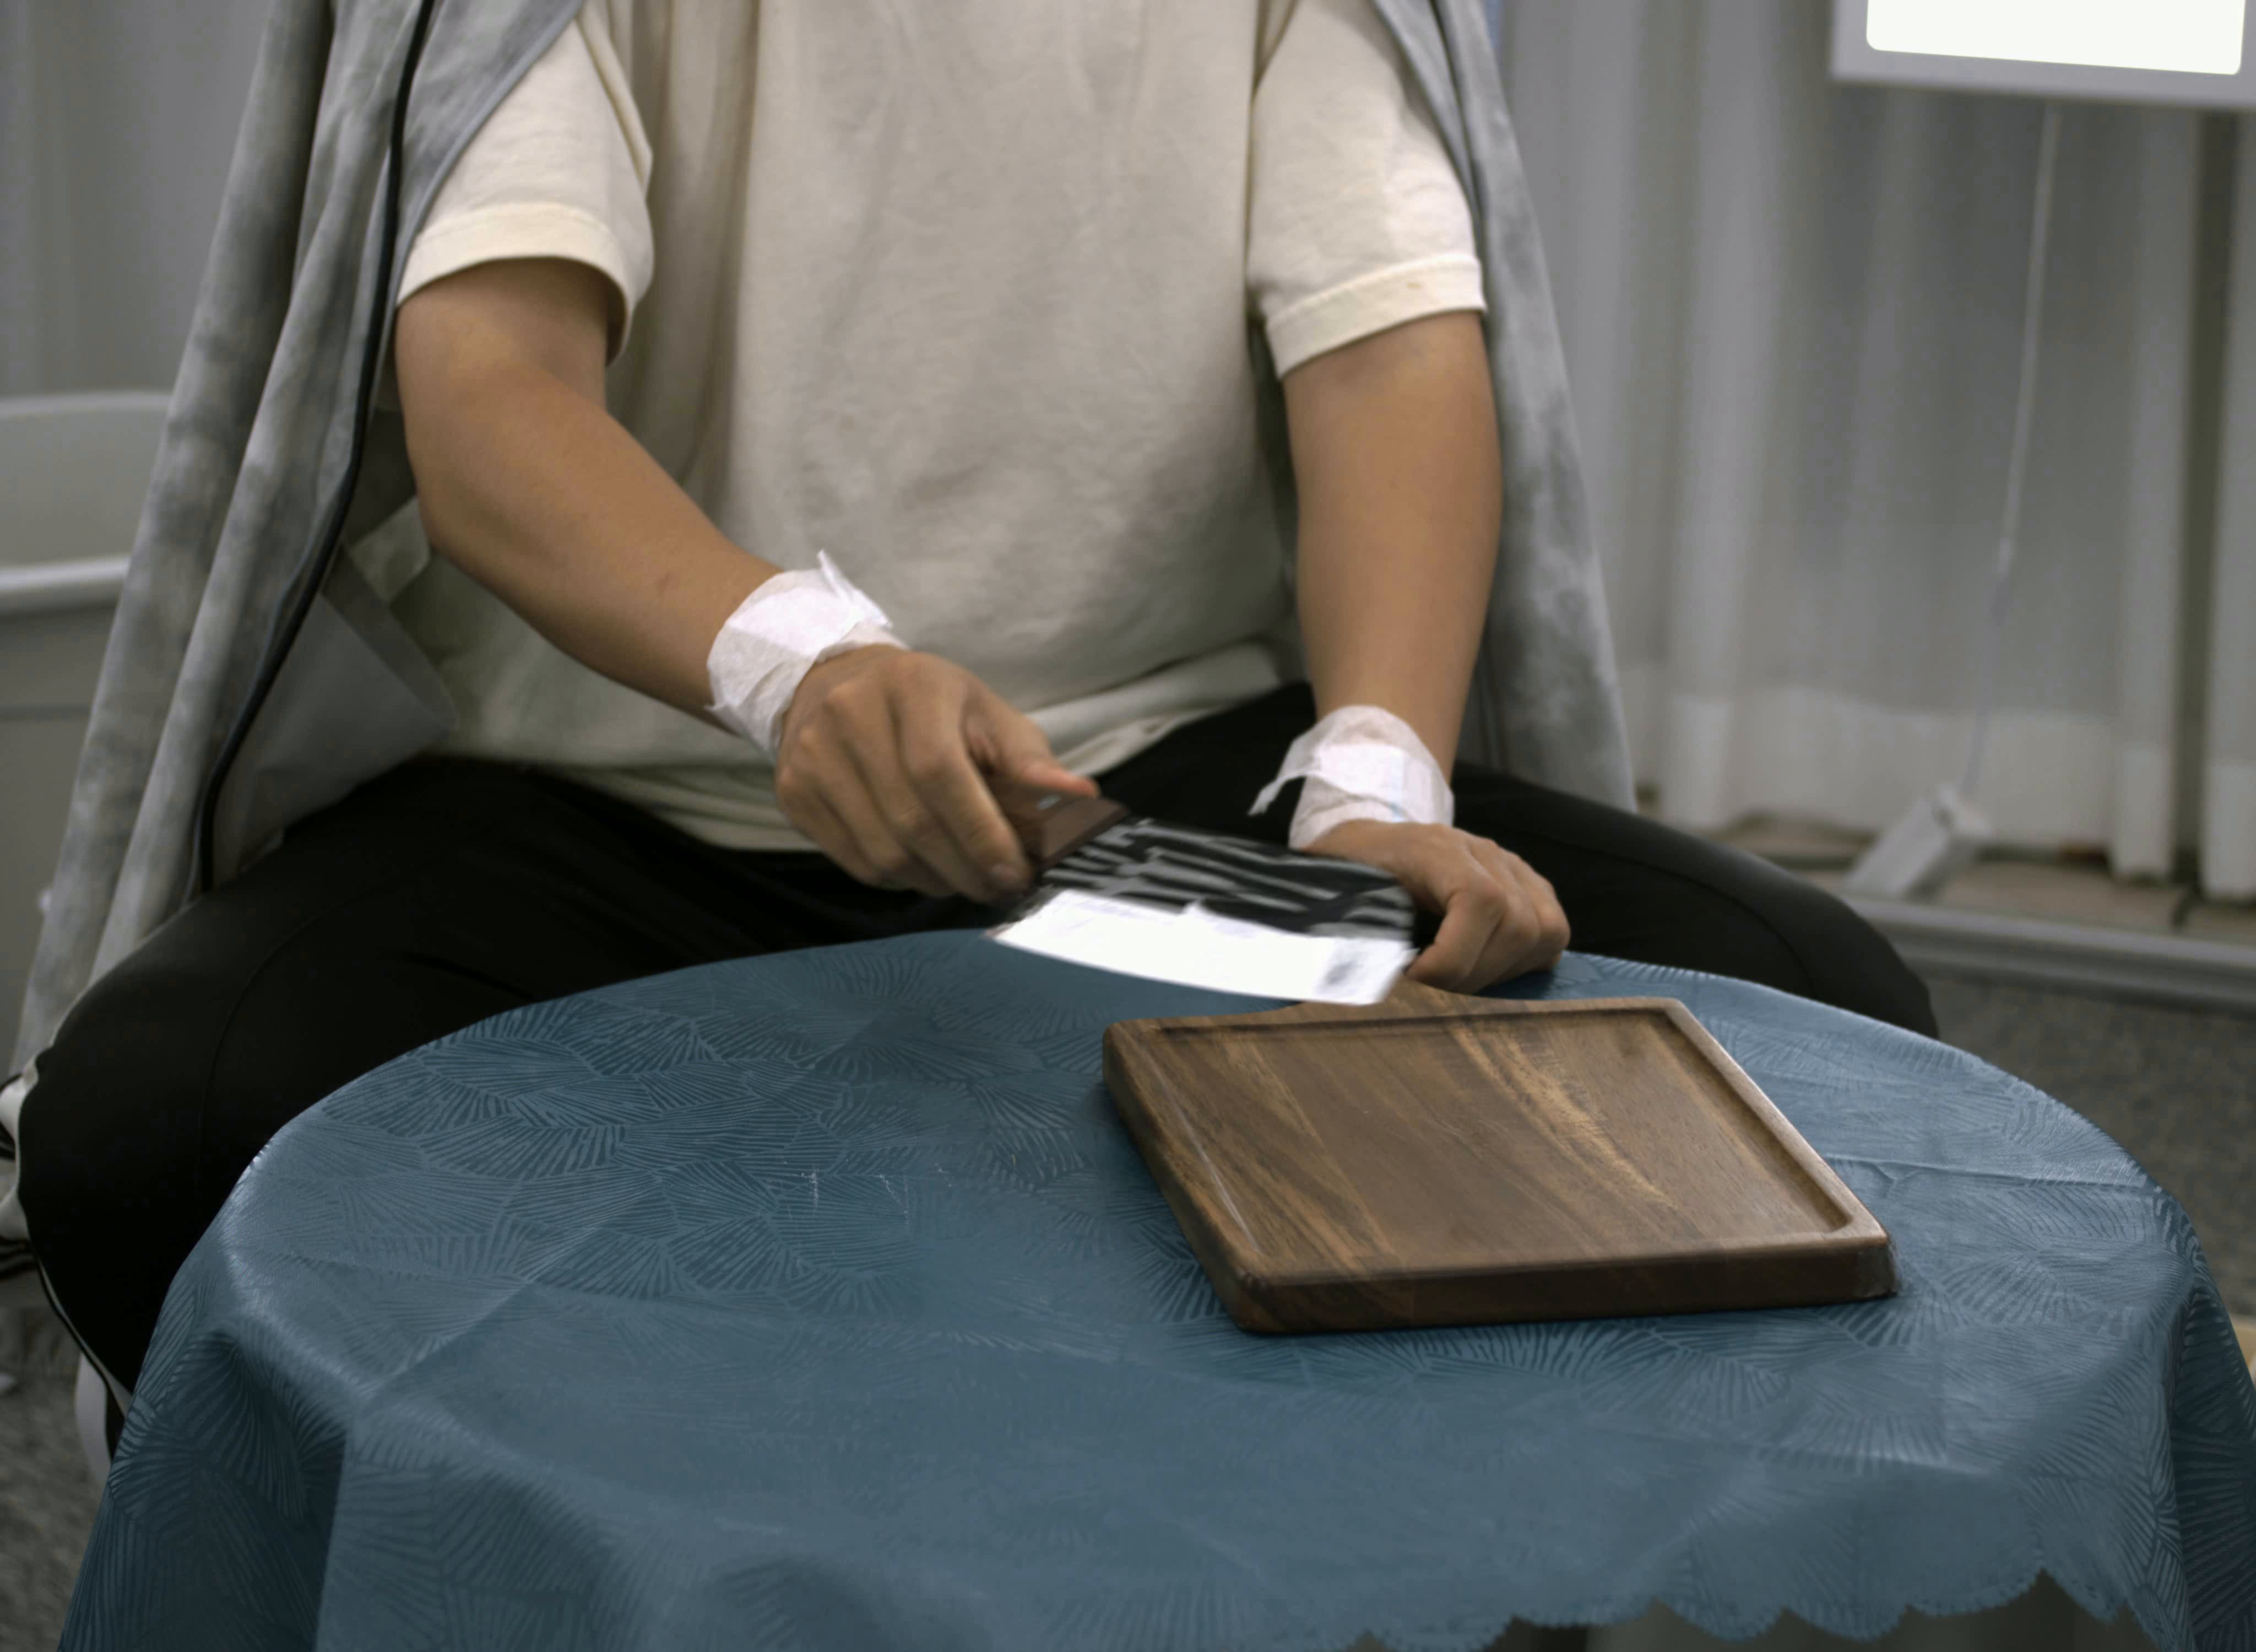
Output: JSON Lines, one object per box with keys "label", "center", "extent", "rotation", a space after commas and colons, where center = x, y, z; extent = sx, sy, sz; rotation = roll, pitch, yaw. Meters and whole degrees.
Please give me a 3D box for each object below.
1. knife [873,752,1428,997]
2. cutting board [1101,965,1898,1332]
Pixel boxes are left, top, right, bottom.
{"label": "knife", "center": [-0.002, 0.016, 1.652], "extent": [0.068, 0.024, 0.296], "rotation": [-40, 31, -28]}
{"label": "cutting board", "center": [0.100, 0.087, 1.682], "extent": [0.201, 0.023, 0.349], "rotation": [-2, 15, -9]}
